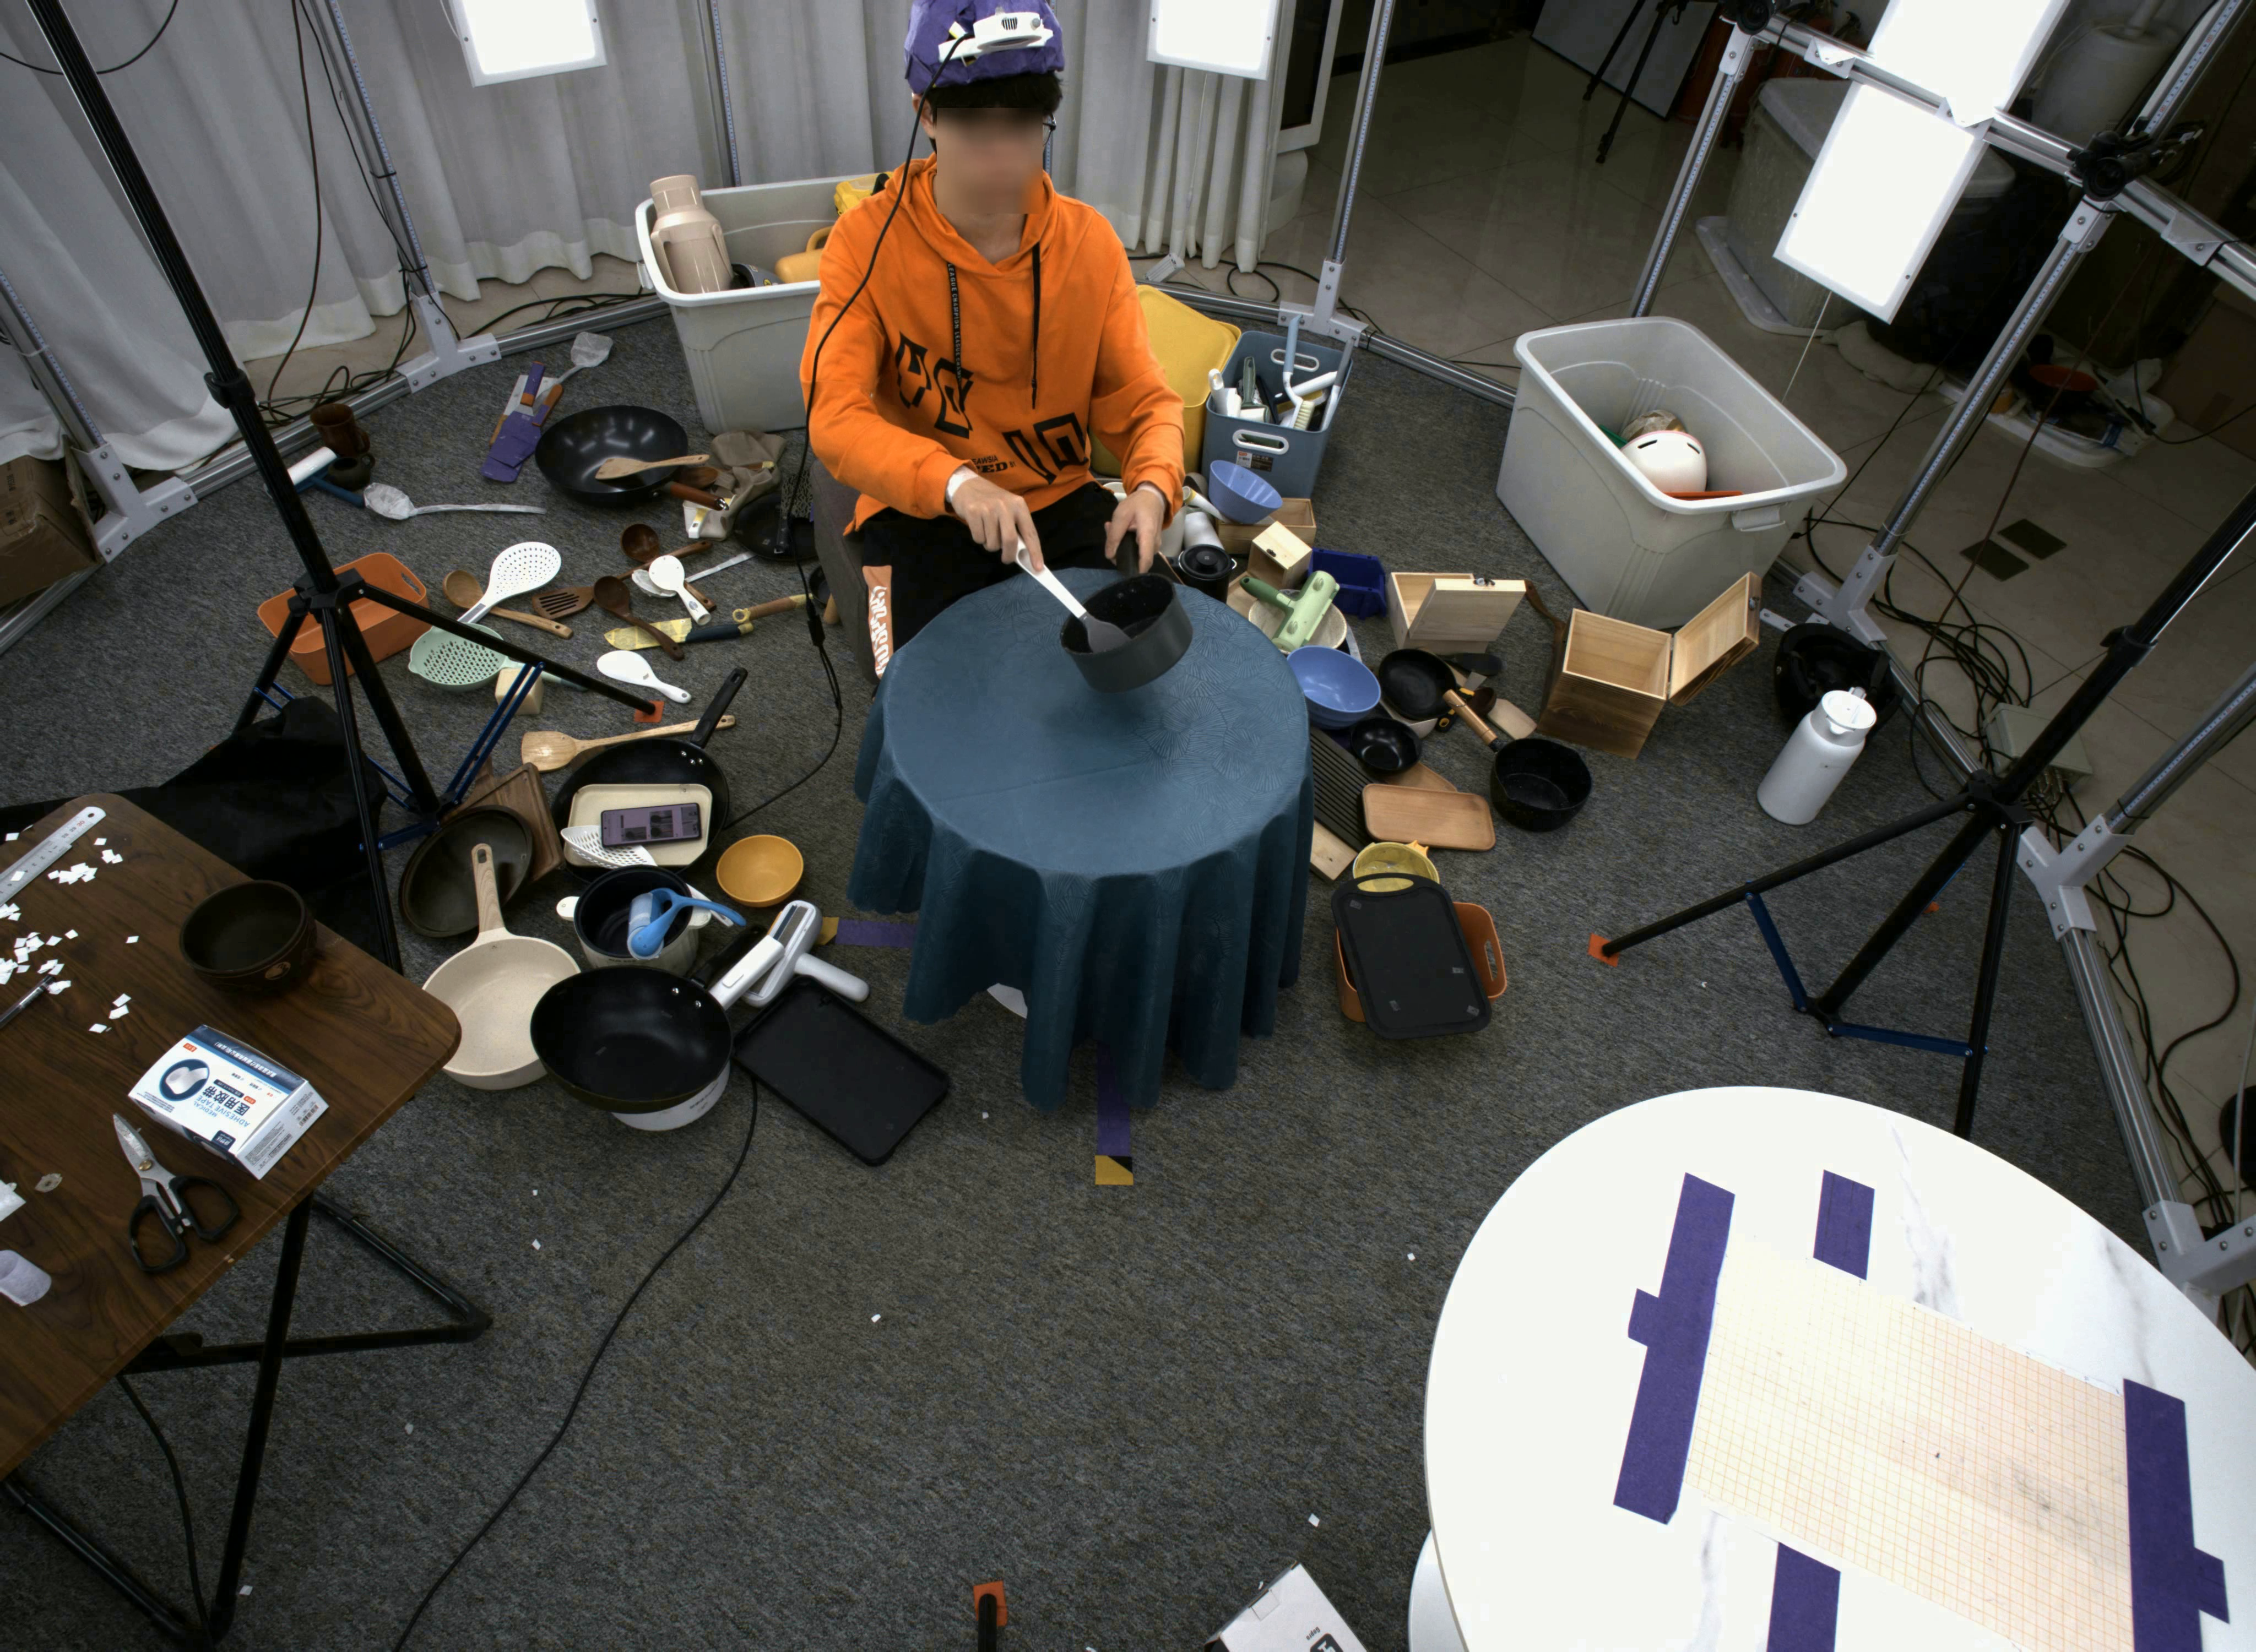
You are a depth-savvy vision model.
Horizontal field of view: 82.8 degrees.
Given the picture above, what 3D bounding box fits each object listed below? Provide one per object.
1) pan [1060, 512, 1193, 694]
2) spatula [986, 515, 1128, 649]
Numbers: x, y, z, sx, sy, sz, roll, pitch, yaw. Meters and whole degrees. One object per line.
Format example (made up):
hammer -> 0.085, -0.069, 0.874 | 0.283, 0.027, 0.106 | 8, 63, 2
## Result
pan -> 0.006, -0.316, 1.794 | 0.171, 0.084, 0.337 | -15, 40, 20
spatula -> -0.083, -0.306, 1.730 | 0.059, 0.032, 0.289 | -42, 83, -9
